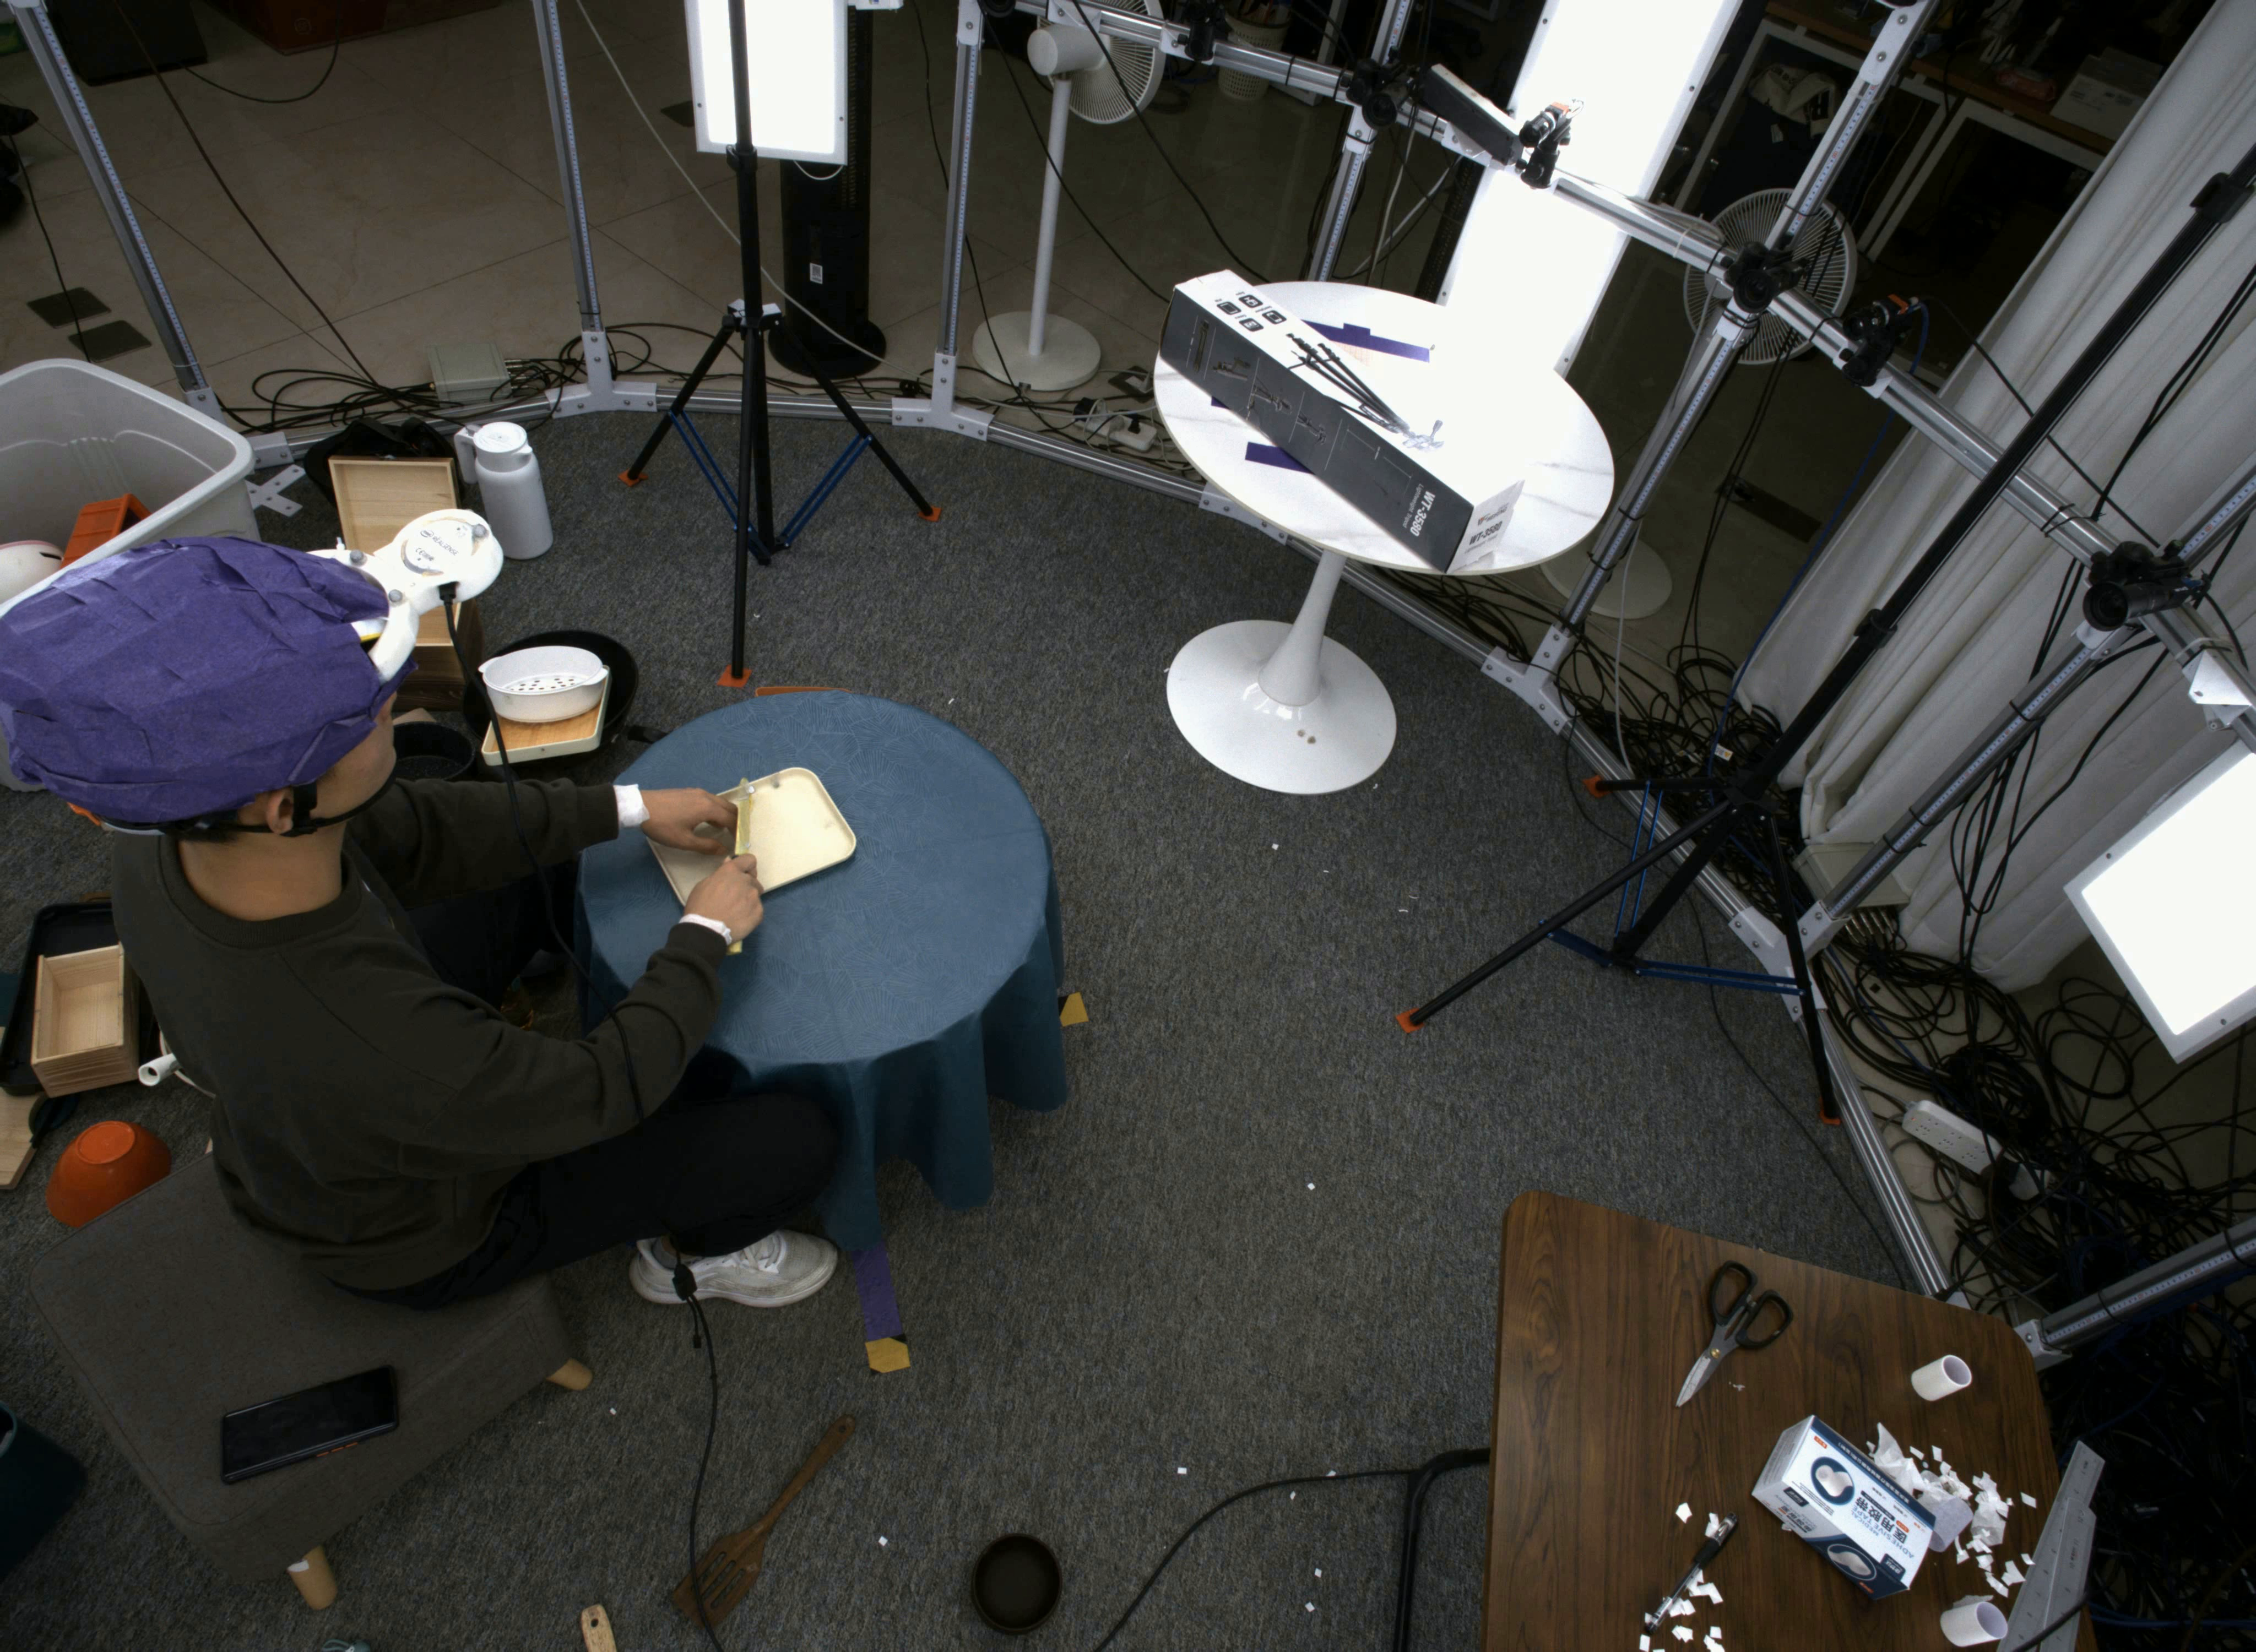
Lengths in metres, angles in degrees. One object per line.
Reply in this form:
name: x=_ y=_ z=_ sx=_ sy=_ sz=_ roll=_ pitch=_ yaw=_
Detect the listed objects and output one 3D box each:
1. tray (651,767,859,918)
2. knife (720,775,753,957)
tray: x=-0.488 y=0.018 z=1.694 sx=0.241 sy=0.018 sz=0.167 roll=-25 pitch=64 yaw=-28
knife: x=-0.488 y=0.048 z=1.631 sx=0.027 sy=0.083 sz=0.283 roll=-5 pitch=52 yaw=-3
